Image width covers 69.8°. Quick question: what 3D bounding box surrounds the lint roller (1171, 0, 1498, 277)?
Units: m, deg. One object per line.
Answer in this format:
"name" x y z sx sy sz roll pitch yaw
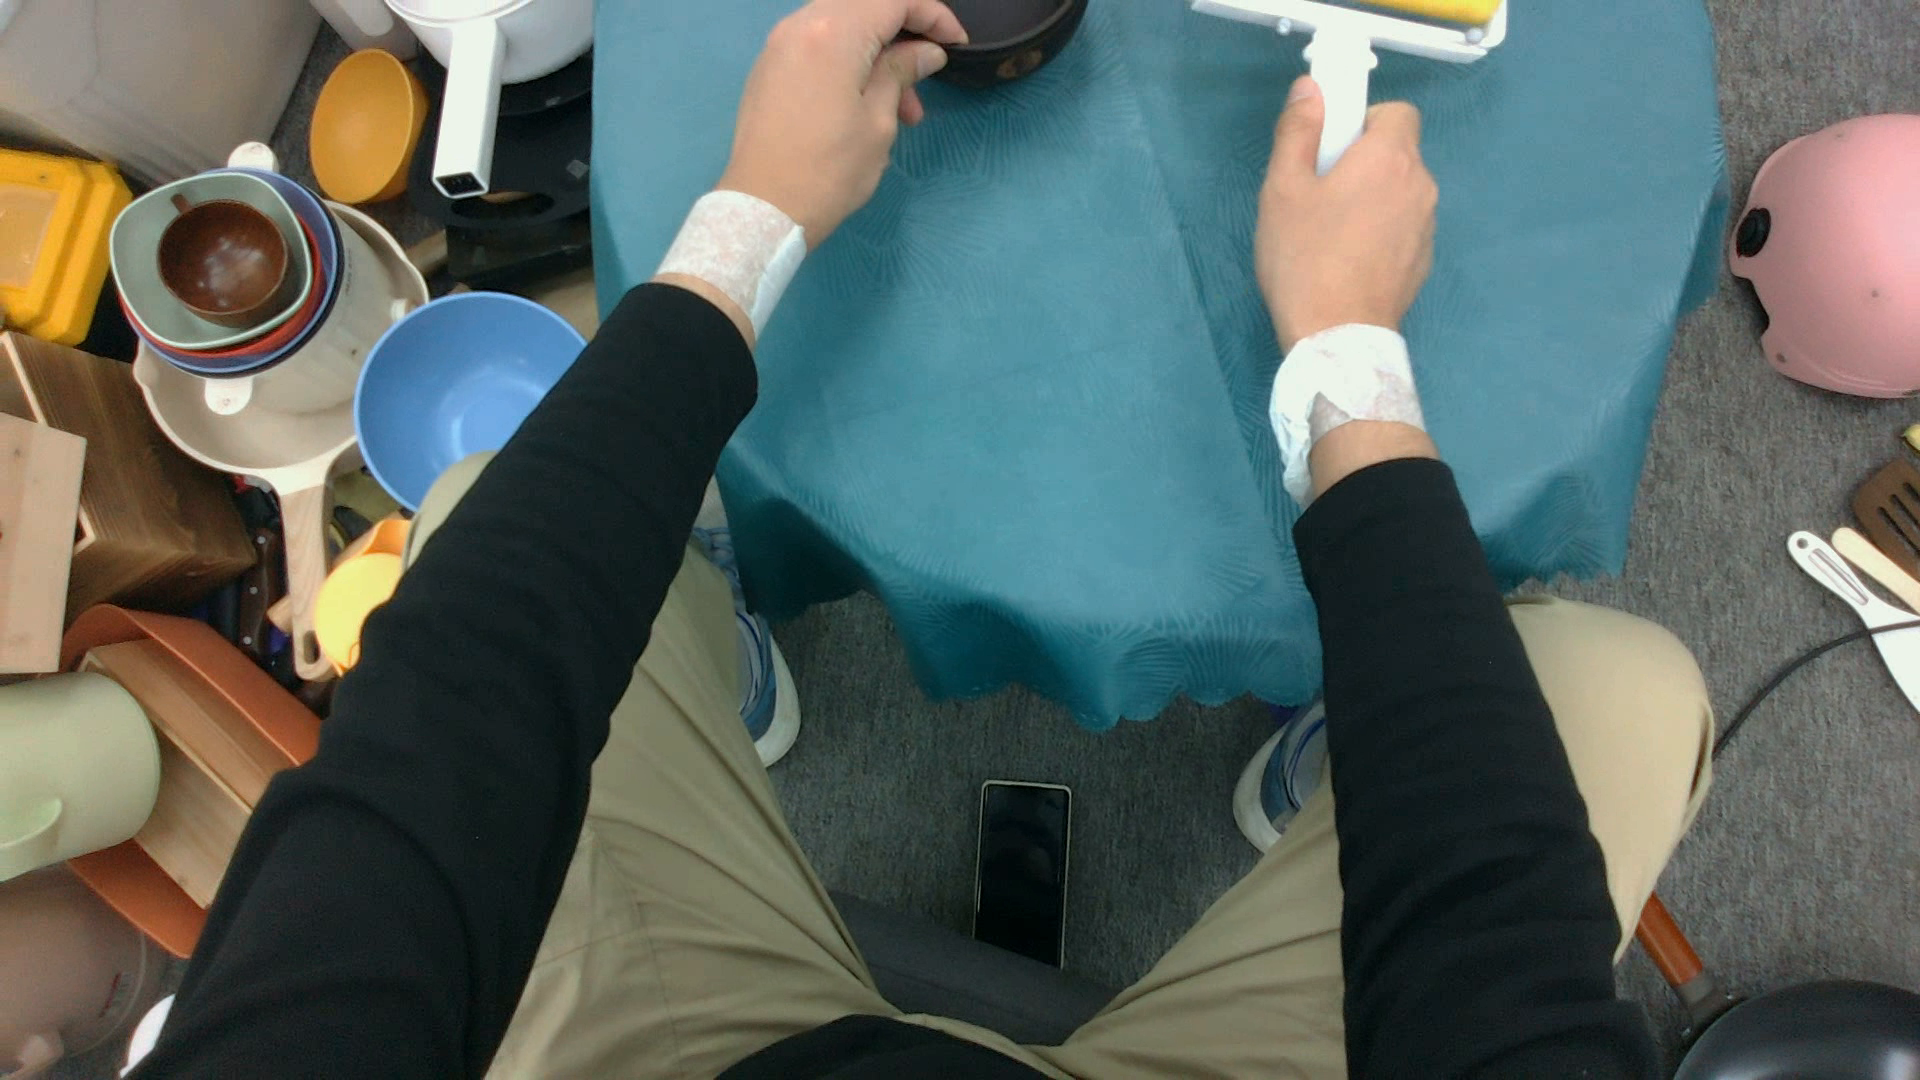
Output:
"lint roller" 0.188 -0.226 0.673 0.174 0.051 0.192 3 74 -11

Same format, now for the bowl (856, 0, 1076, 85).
"bowl" 0.004 -0.289 0.713 0.118 0.070 0.118 0 78 2
